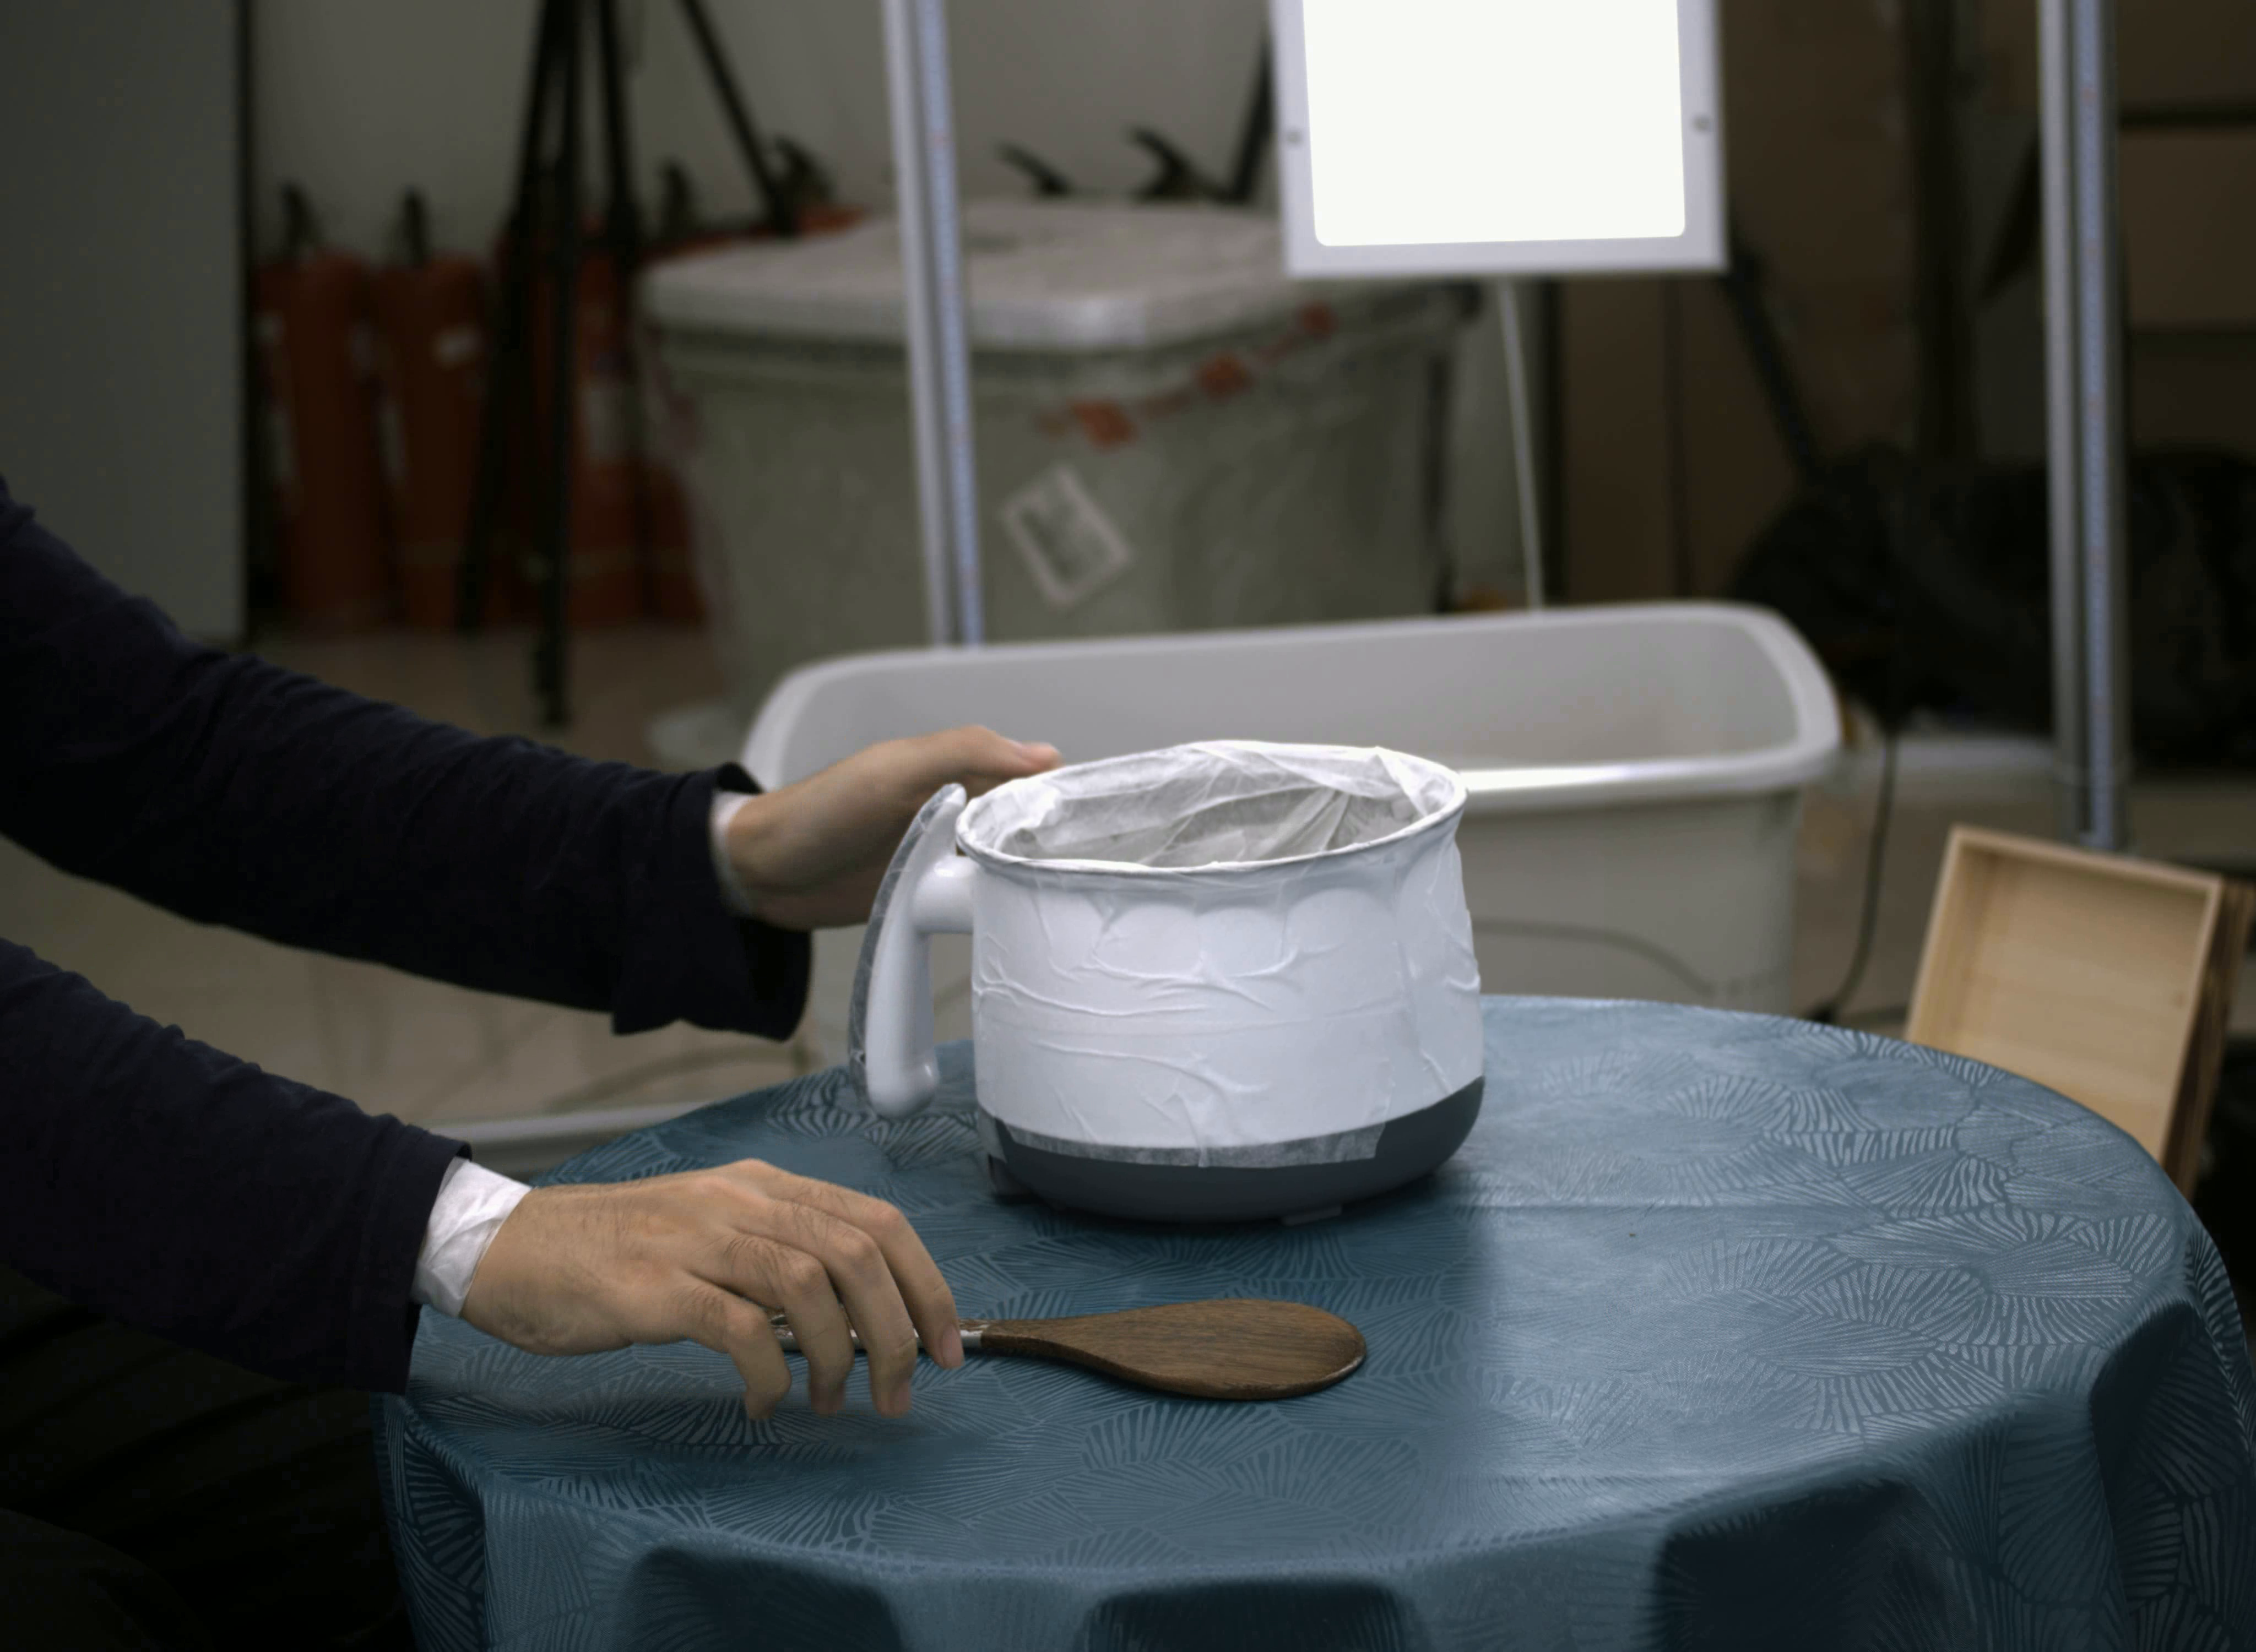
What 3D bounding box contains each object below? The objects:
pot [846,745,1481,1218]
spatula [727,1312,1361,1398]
[{"bbox_3d":[0.008,0.051,1.912,0.237,0.137,0.175,3,13,24],"label":"pot"},{"bbox_3d":[-0.029,0.165,1.747,0.219,0.009,0.070,0,14,25],"label":"spatula"}]
